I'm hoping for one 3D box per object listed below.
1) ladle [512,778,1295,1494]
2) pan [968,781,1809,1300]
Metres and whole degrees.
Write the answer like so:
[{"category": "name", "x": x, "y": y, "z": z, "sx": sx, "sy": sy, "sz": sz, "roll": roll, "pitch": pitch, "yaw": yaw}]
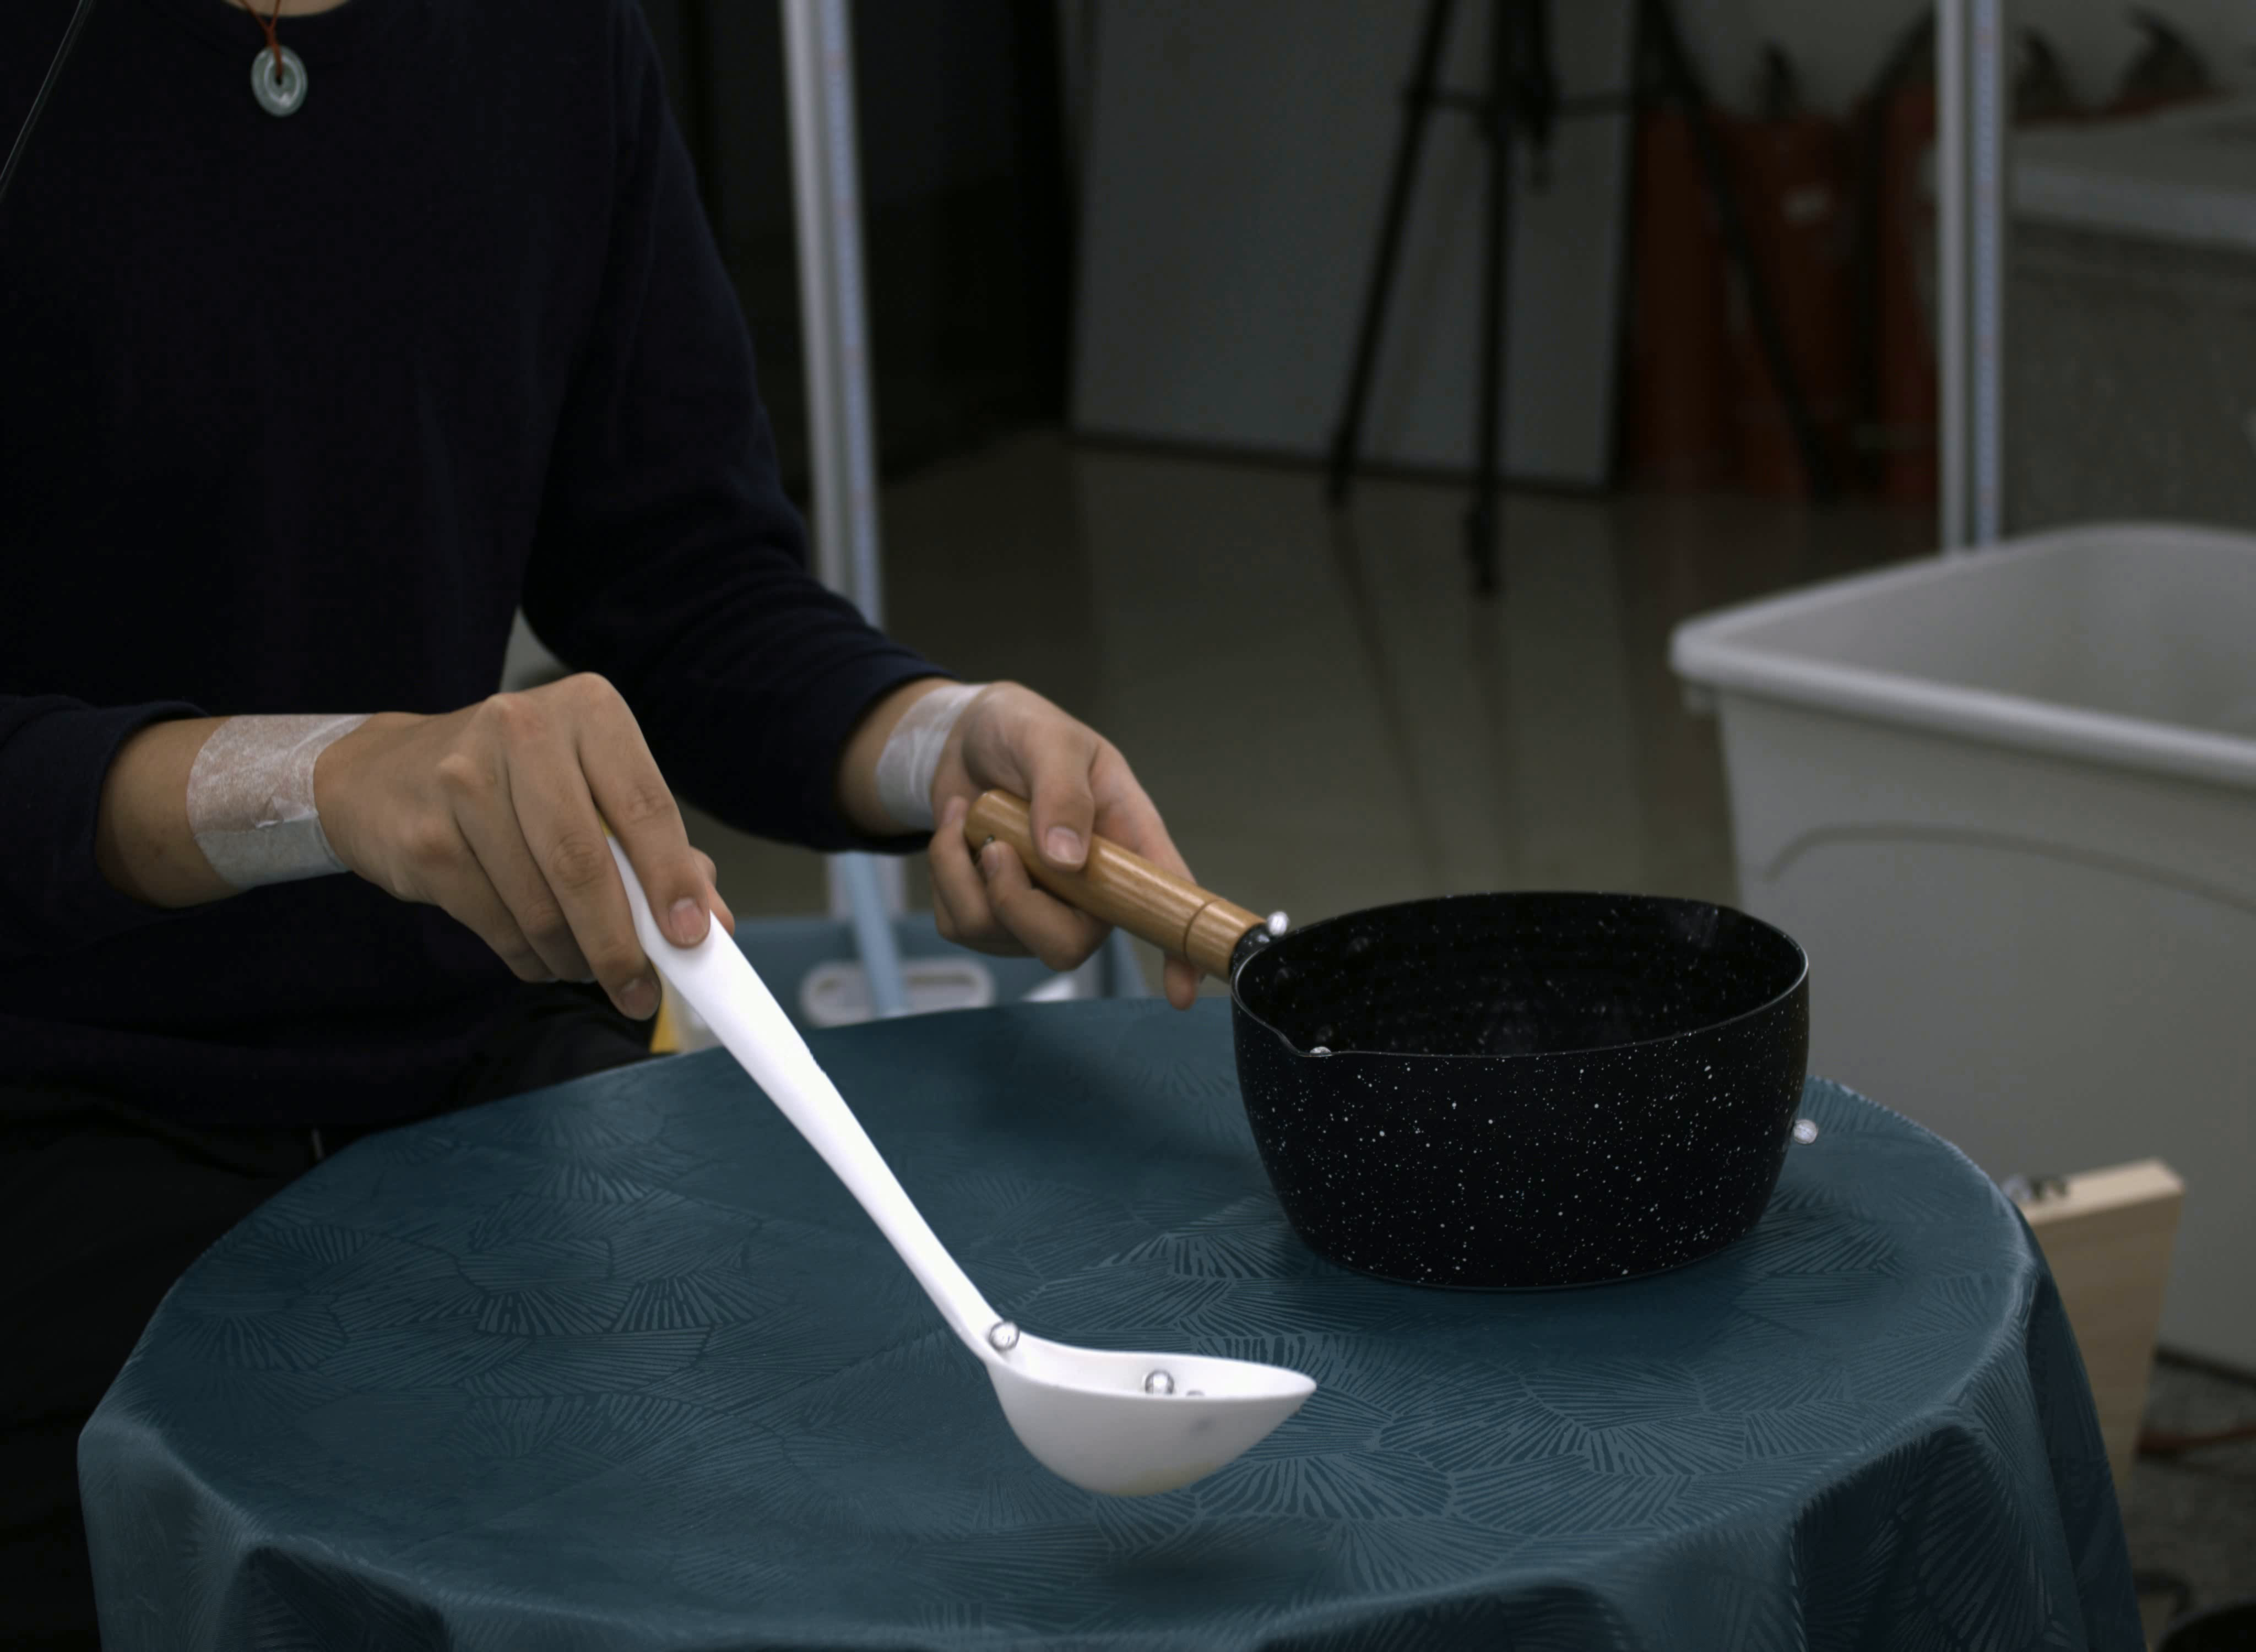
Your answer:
[{"category": "ladle", "x": -0.070, "y": 0.077, "z": 1.490, "sx": 0.088, "sy": 0.070, "sz": 0.296, "roll": -7, "pitch": 45, "yaw": -47}, {"category": "pan", "x": 0.069, "y": 0.063, "z": 1.759, "sx": 0.203, "sy": 0.109, "sz": 0.346, "roll": -18, "pitch": 21, "yaw": -42}]
